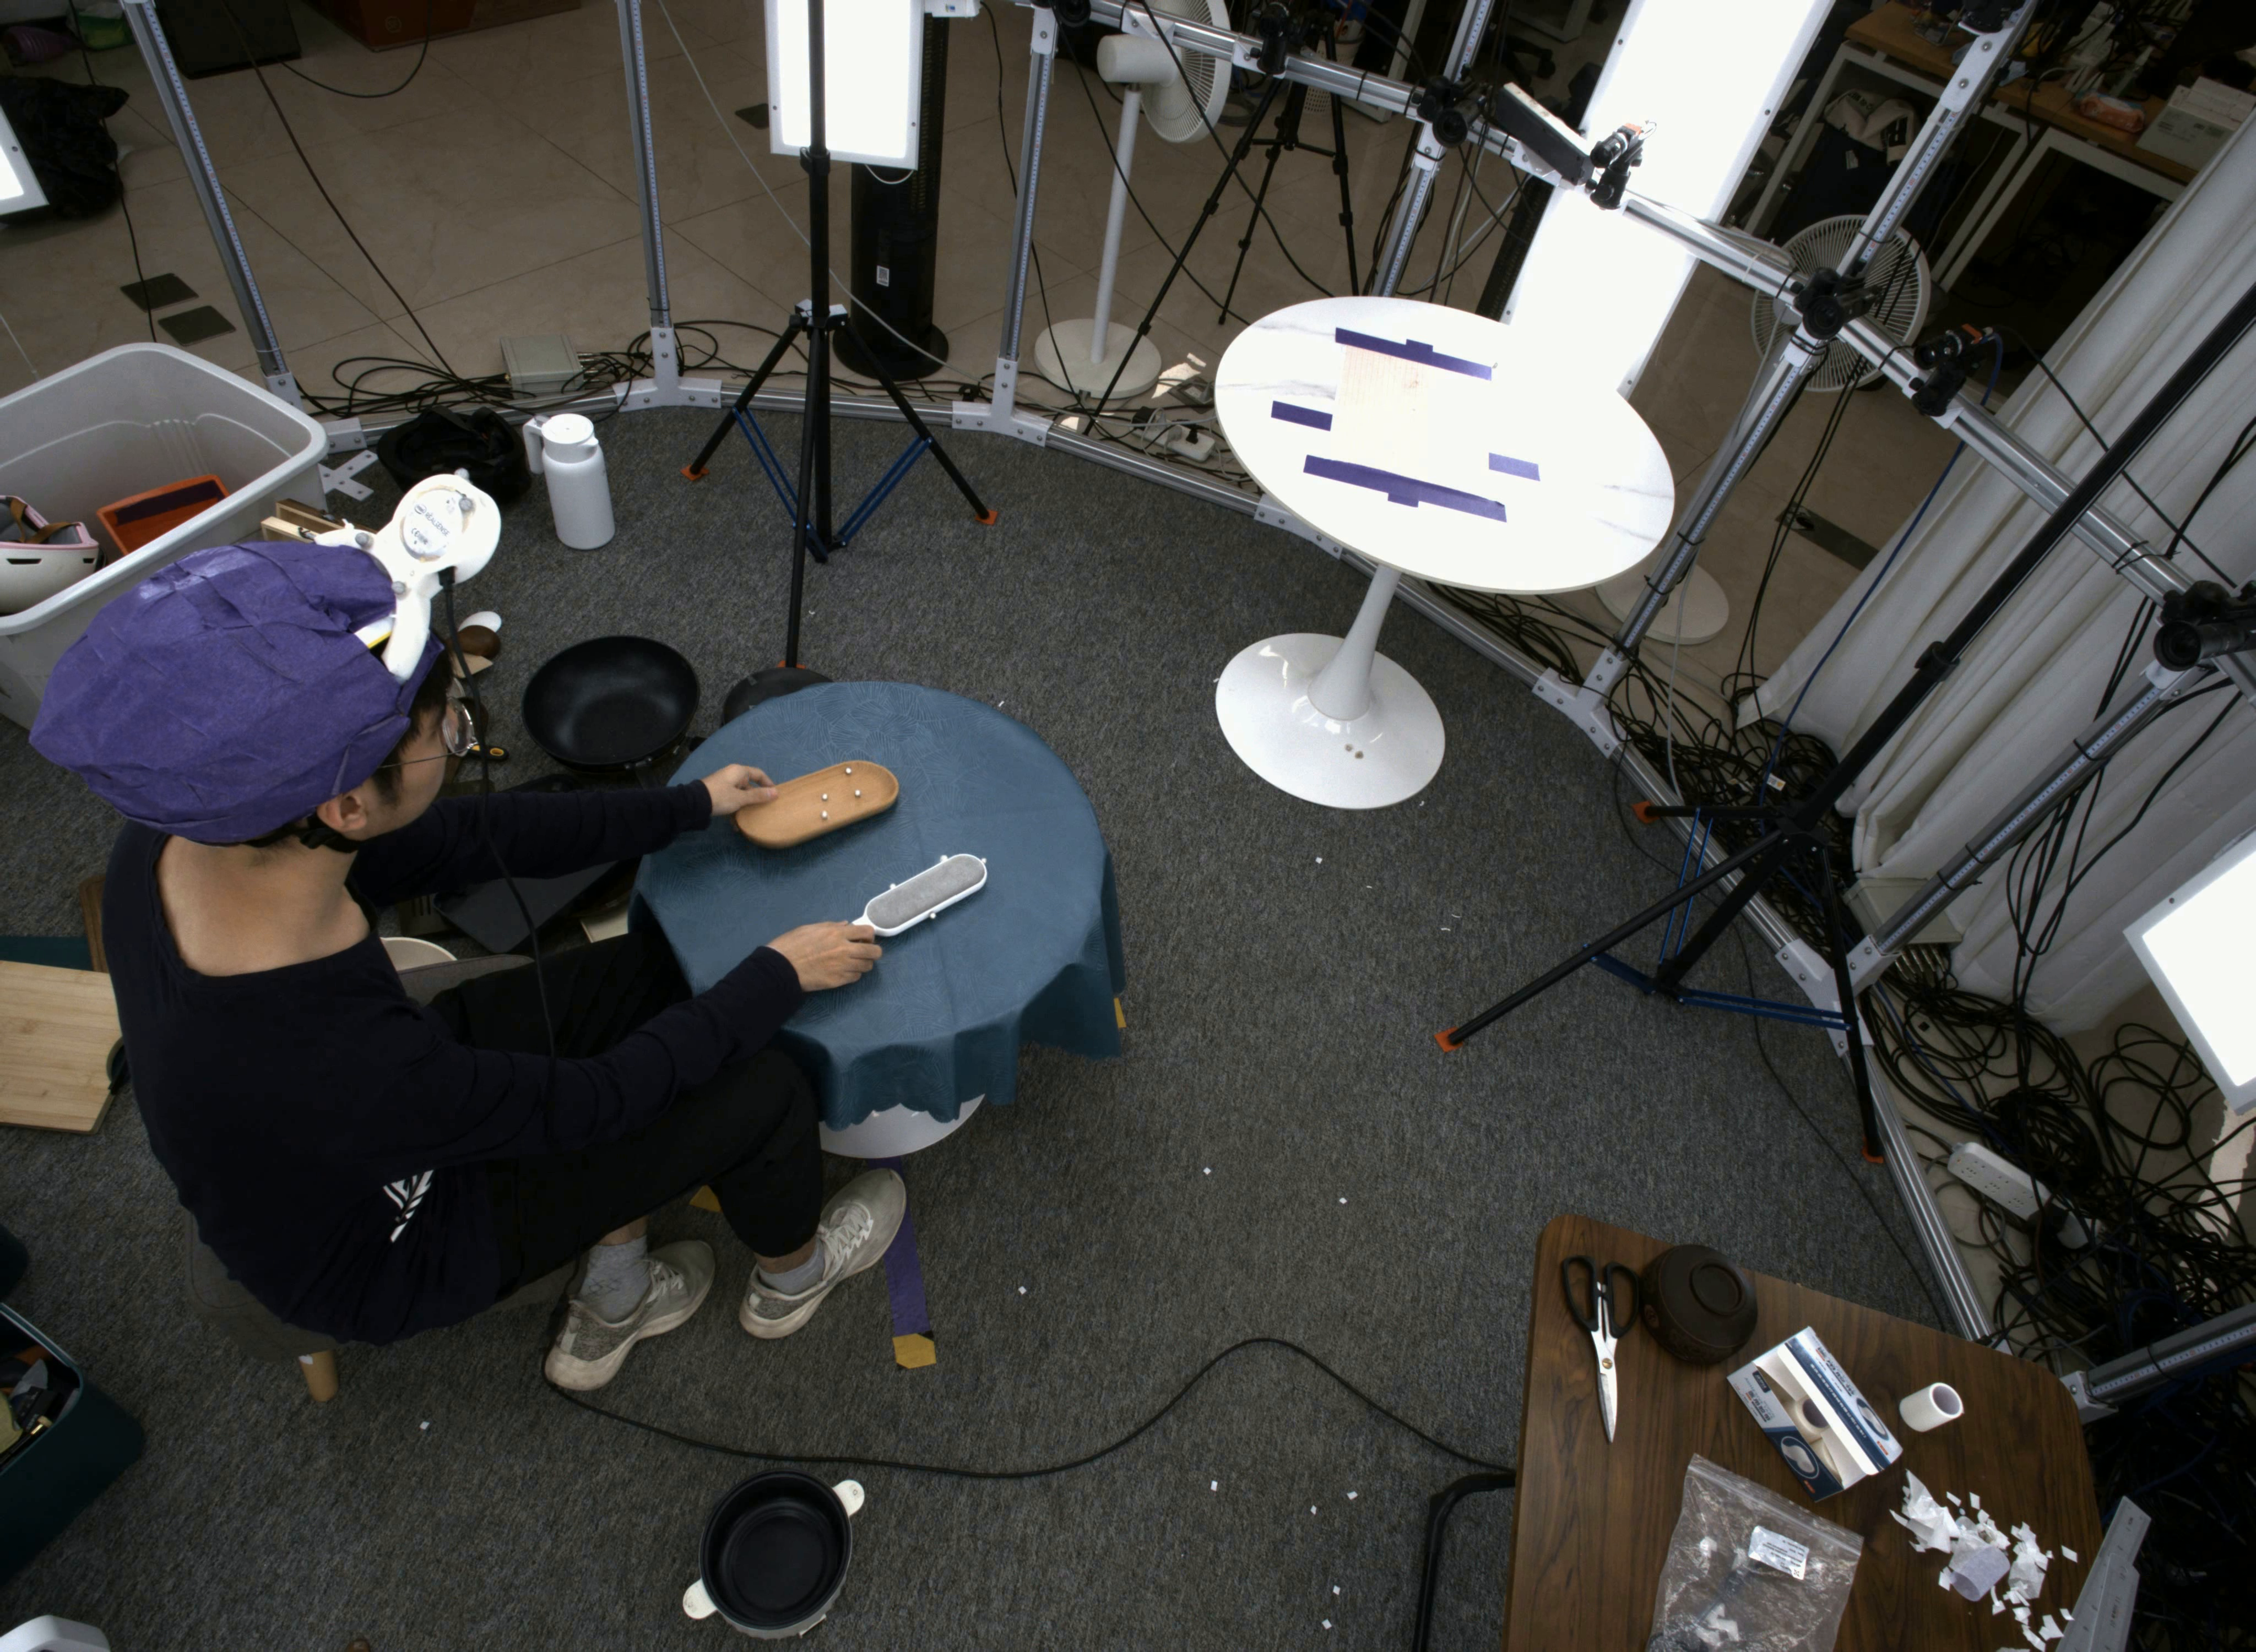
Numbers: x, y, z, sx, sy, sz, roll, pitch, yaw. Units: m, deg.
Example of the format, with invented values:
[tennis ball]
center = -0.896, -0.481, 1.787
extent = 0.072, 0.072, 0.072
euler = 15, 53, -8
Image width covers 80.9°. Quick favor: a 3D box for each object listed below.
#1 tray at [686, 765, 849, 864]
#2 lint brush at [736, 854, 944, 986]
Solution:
[tray]
center = -0.473, -0.018, 1.706
extent = 0.099, 0.021, 0.232
euler = 41, 49, 23
[lint brush]
center = -0.360, 0.115, 1.638
extent = 0.310, 0.021, 0.059
euler = -31, 73, -34
